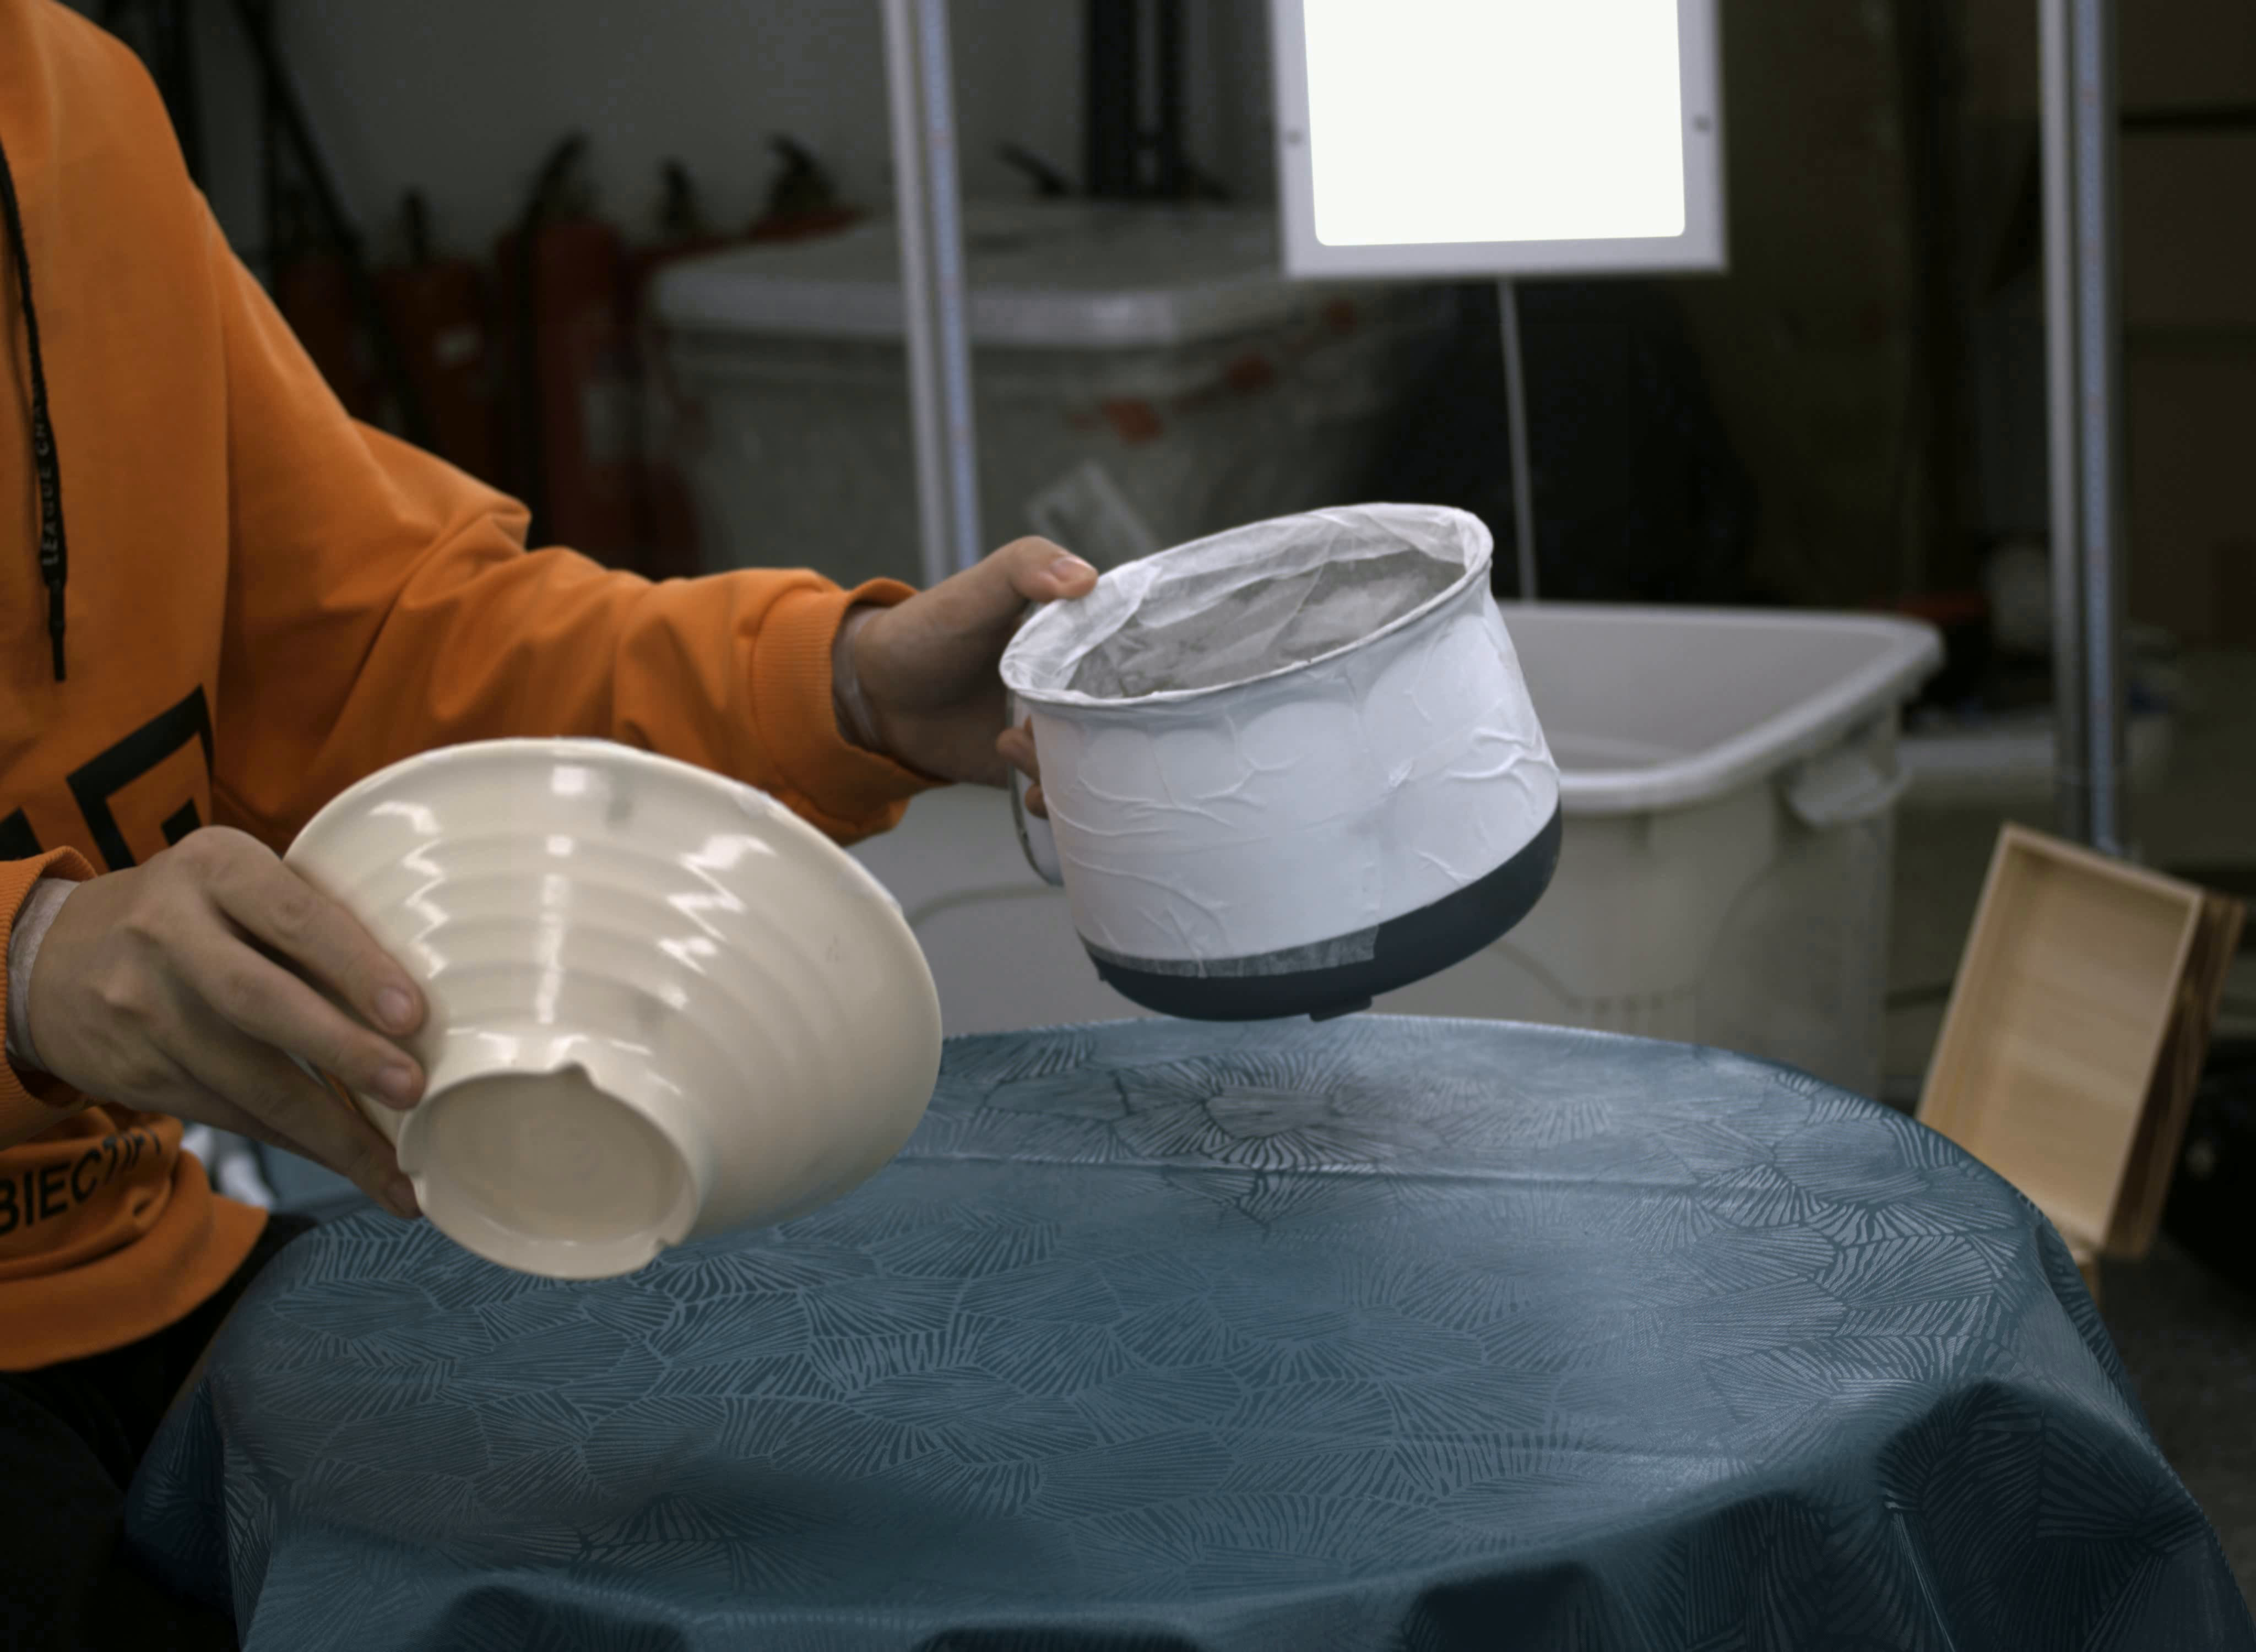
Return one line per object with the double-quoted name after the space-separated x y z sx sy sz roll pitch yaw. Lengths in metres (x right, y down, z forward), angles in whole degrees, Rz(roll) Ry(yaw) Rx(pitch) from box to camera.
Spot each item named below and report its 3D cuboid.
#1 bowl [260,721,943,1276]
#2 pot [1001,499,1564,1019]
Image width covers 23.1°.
-0.158 0.072 1.588 0.205 0.204 0.077 -1 41 12 "bowl"
0.039 -0.023 1.937 0.174 0.137 0.239 -31 23 -37 "pot"
